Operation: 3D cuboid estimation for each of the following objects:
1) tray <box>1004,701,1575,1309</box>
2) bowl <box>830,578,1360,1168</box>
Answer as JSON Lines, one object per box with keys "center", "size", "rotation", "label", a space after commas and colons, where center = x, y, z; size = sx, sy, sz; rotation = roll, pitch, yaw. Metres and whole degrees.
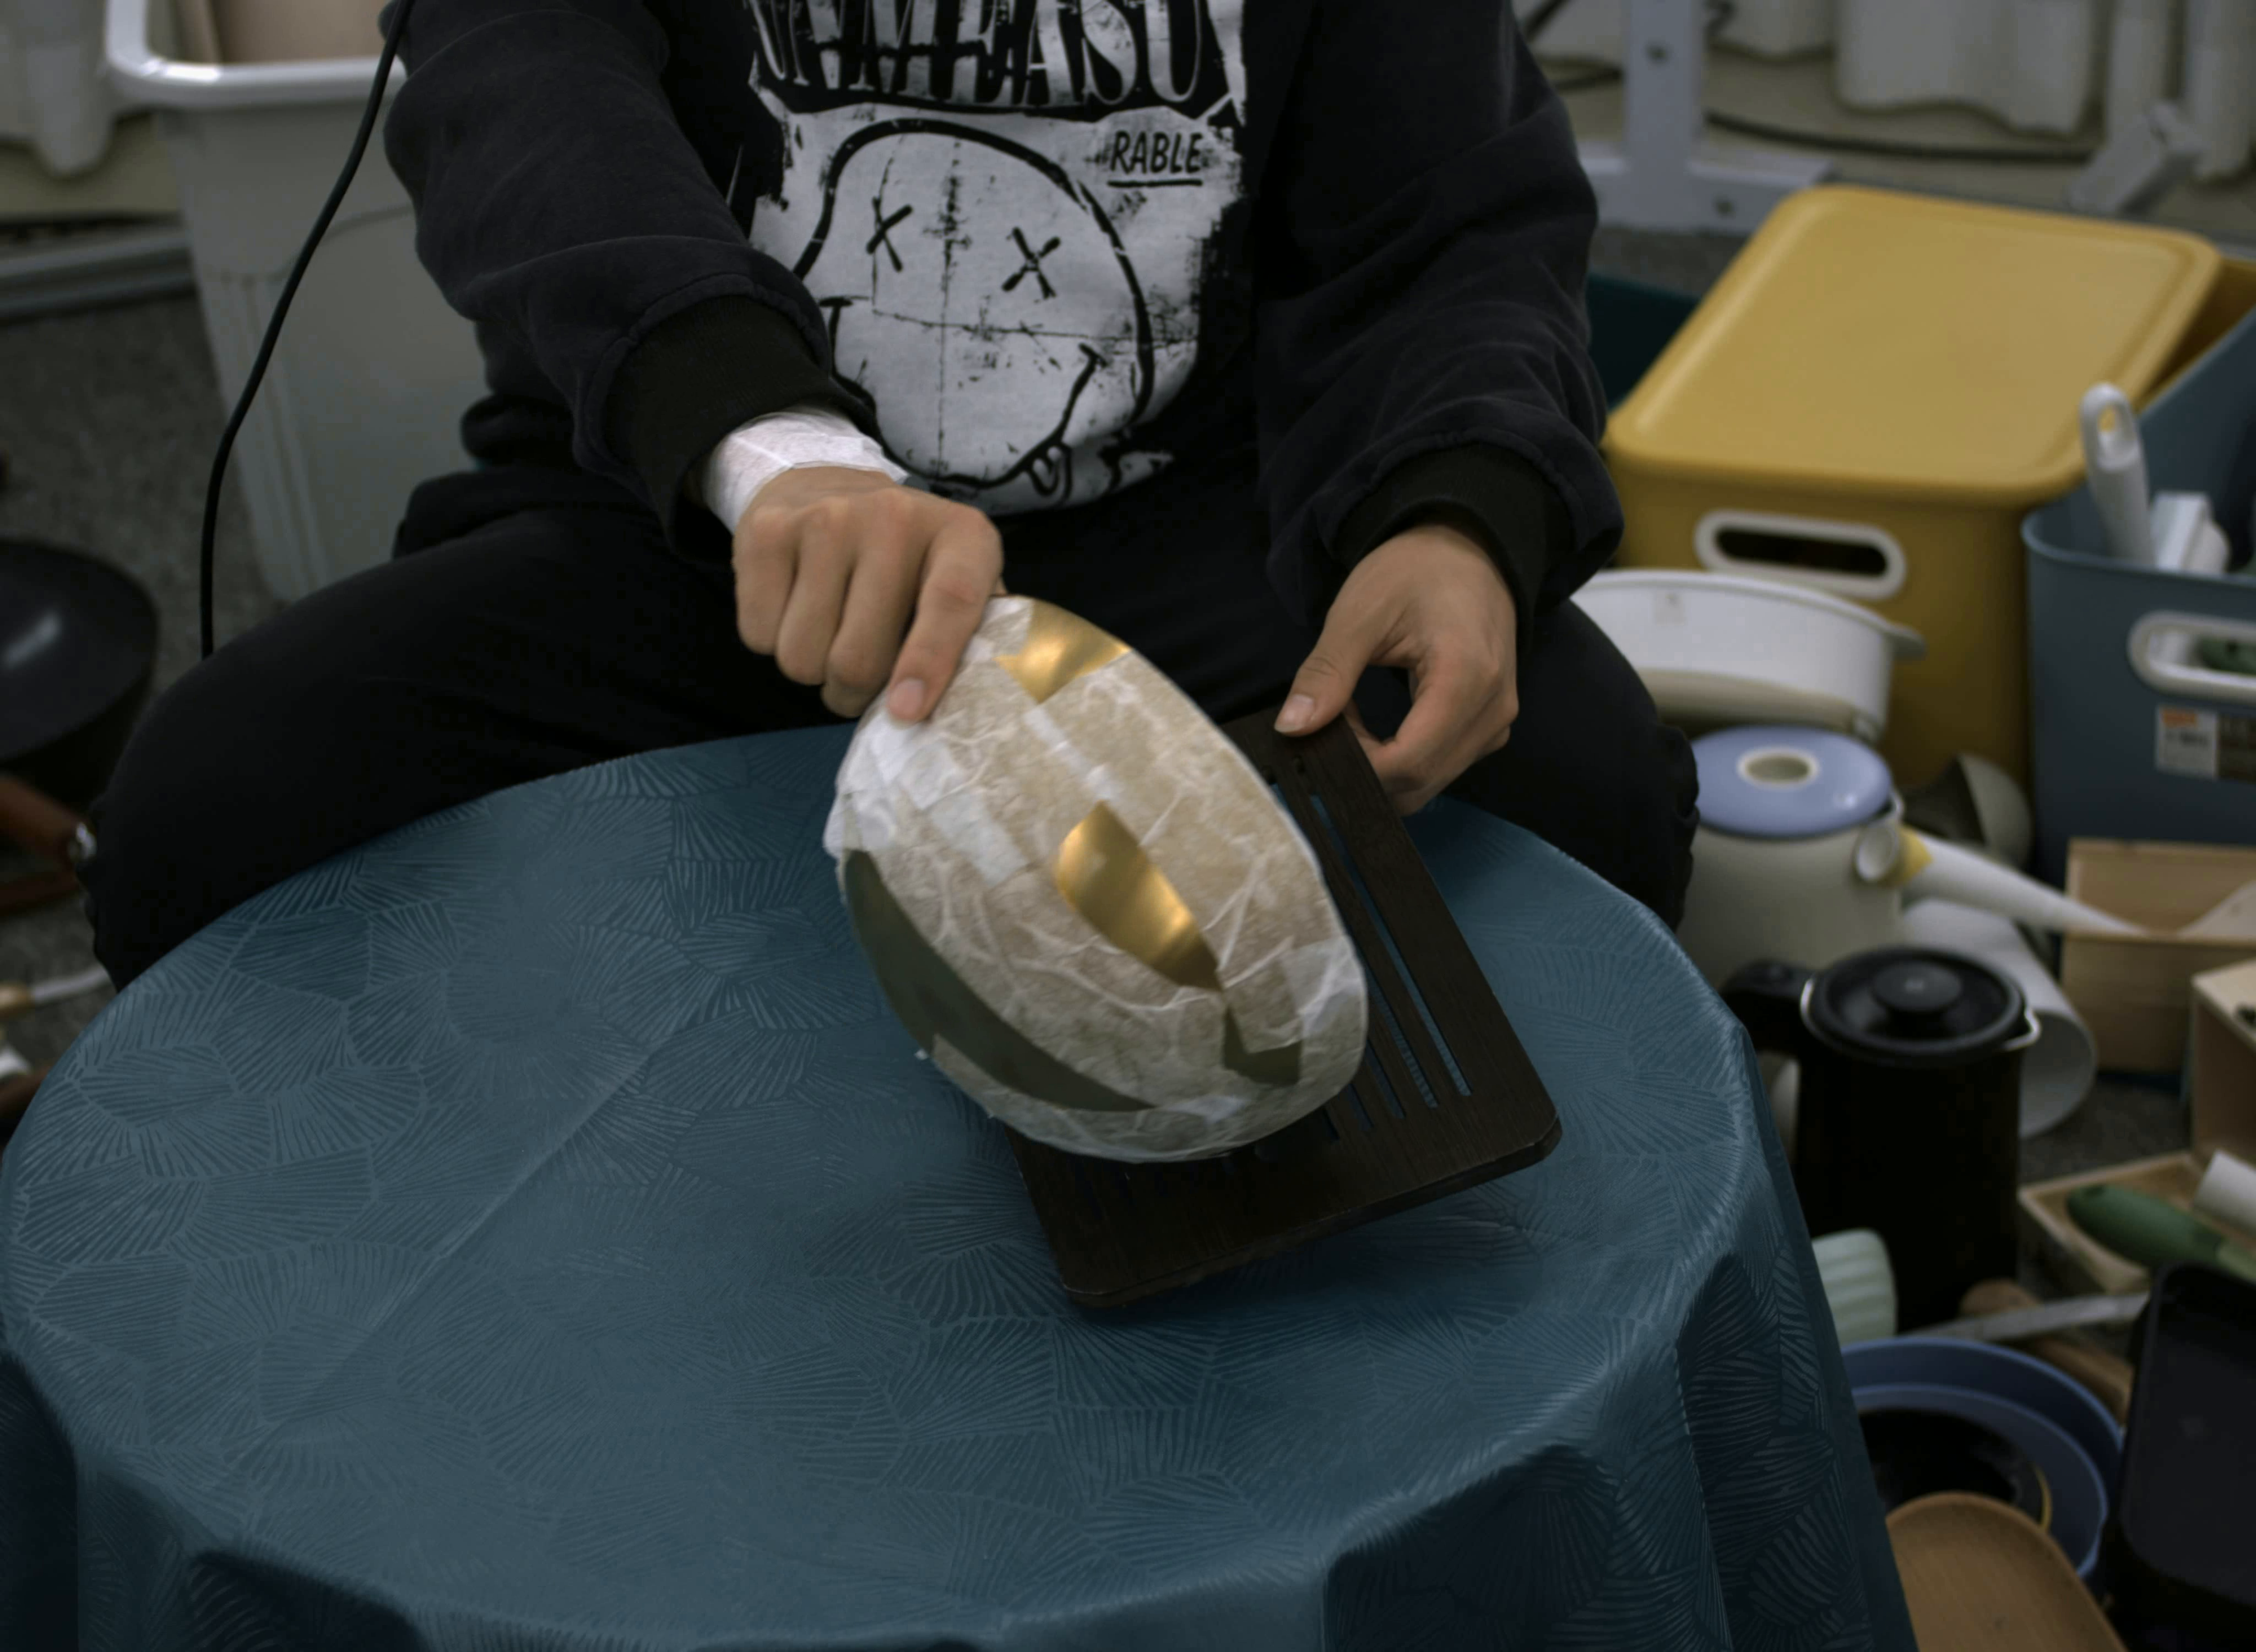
{"center": [0.033, 0.057, 1.917], "size": [0.170, 0.018, 0.309], "rotation": [-18, 31, -4], "label": "tray"}
{"center": [-0.029, 0.035, 1.788], "size": [0.095, 0.212, 0.215], "rotation": [-38, 41, -24], "label": "bowl"}
